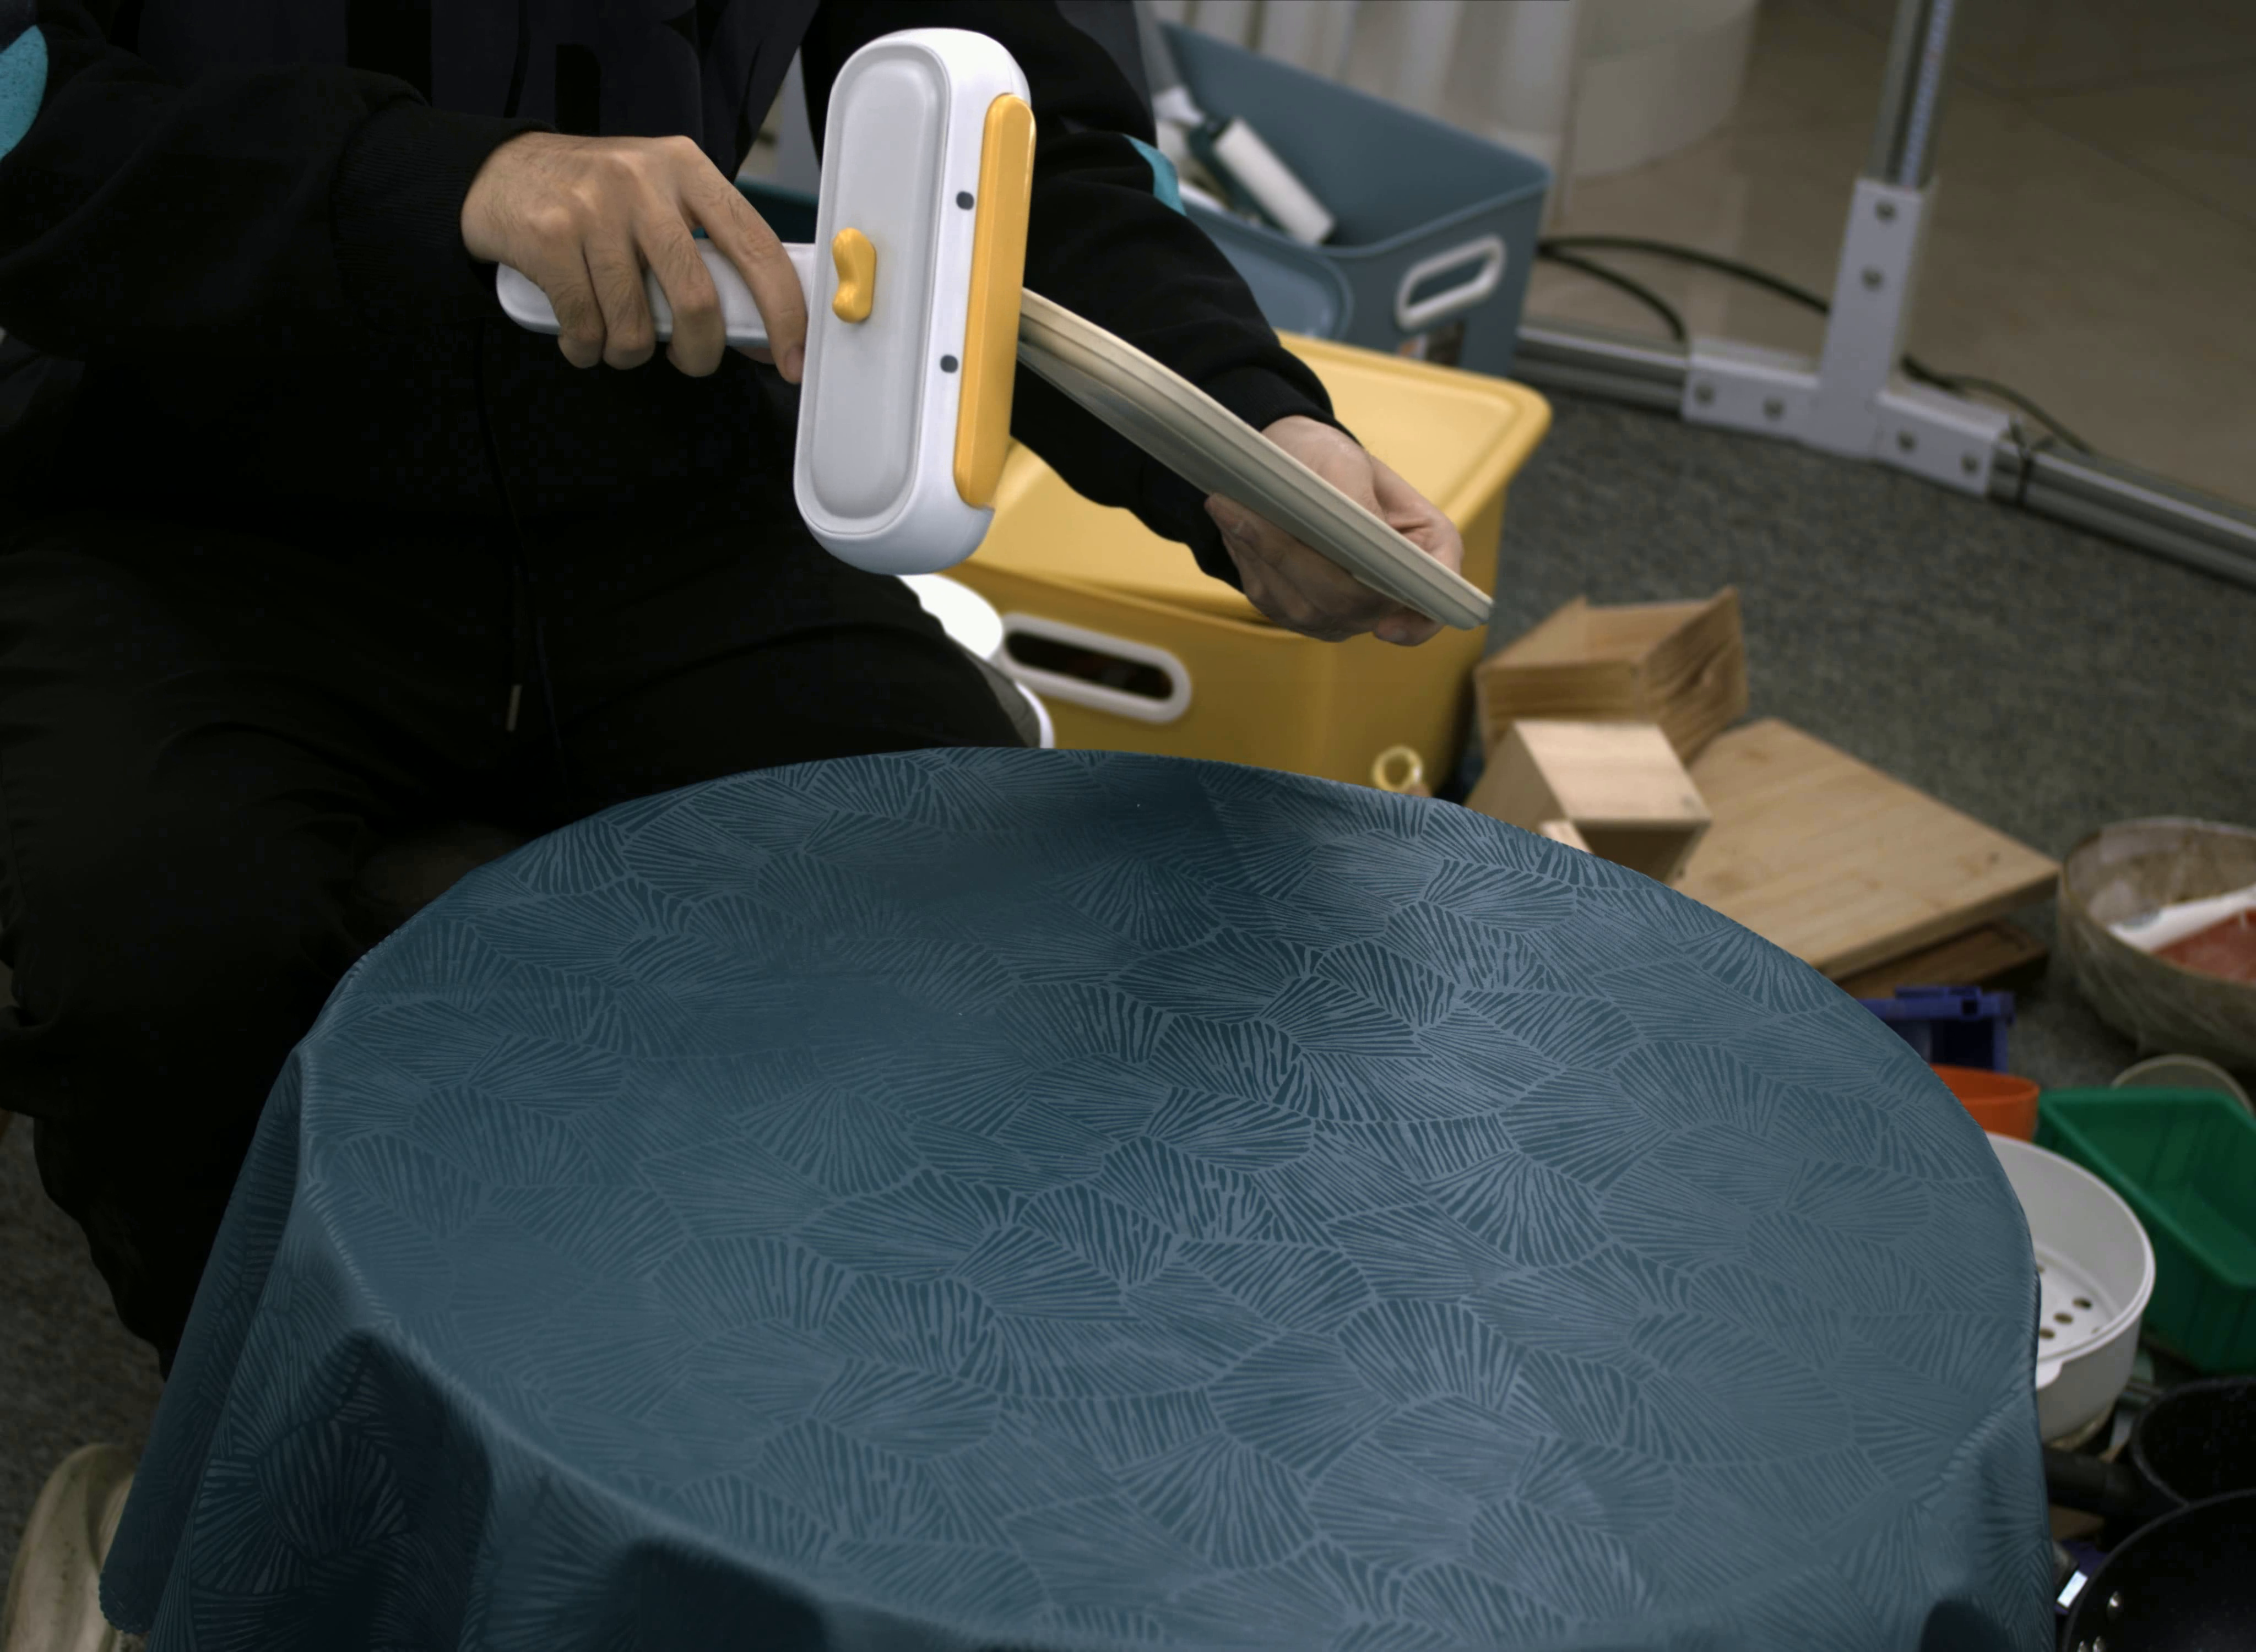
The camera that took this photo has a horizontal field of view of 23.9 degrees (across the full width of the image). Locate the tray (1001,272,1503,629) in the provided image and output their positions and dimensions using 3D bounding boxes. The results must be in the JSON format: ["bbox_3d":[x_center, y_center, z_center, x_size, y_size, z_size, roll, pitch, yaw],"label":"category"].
[{"bbox_3d":[0.025,-0.142,1.963,0.173,0.017,0.237,30,-2,45],"label":"tray"}]

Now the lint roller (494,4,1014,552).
[{"bbox_3d":[-0.132,-0.192,1.892,0.193,0.193,0.074,-1,-3,27],"label":"lint roller"}]
